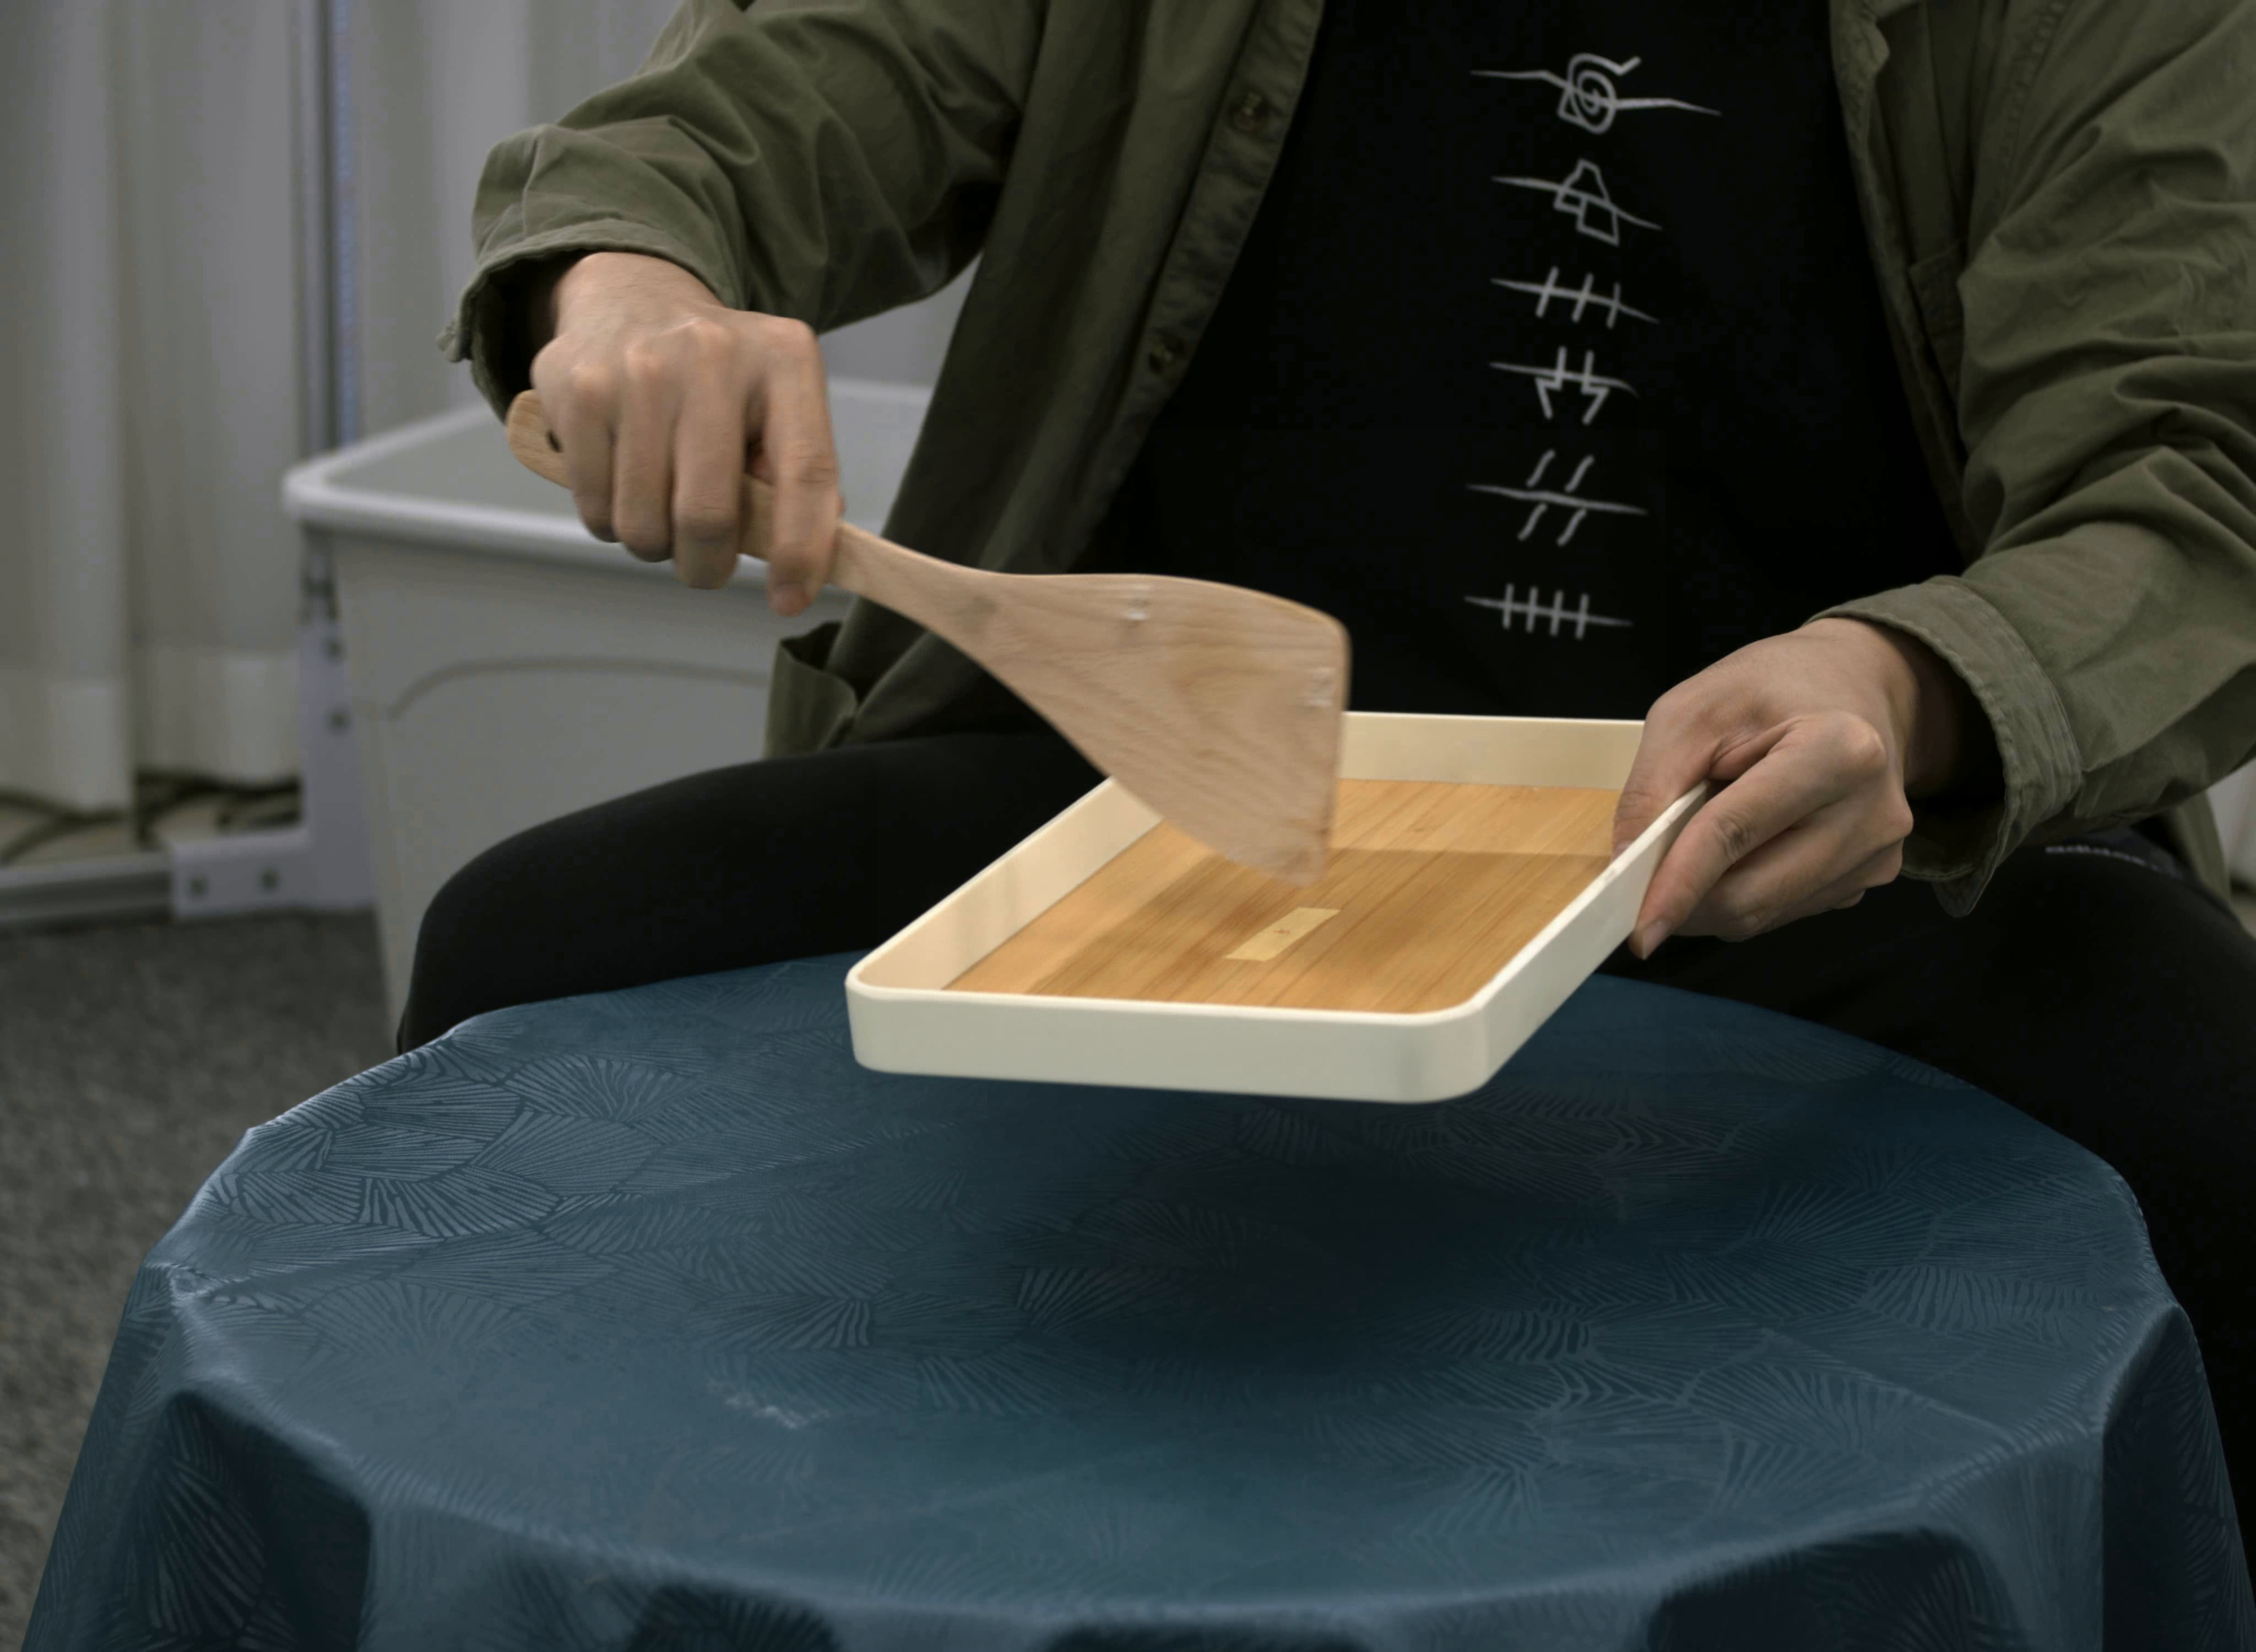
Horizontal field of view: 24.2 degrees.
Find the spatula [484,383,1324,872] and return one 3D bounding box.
[{"bbox_3d":[-0.072,-0.076,1.581,0.323,0.080,0.016,23,18,27],"label":"spatula"}]

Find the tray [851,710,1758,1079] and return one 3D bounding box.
[{"bbox_3d":[0.061,0.016,1.579,0.190,0.027,0.300,3,16,23],"label":"tray"}]
